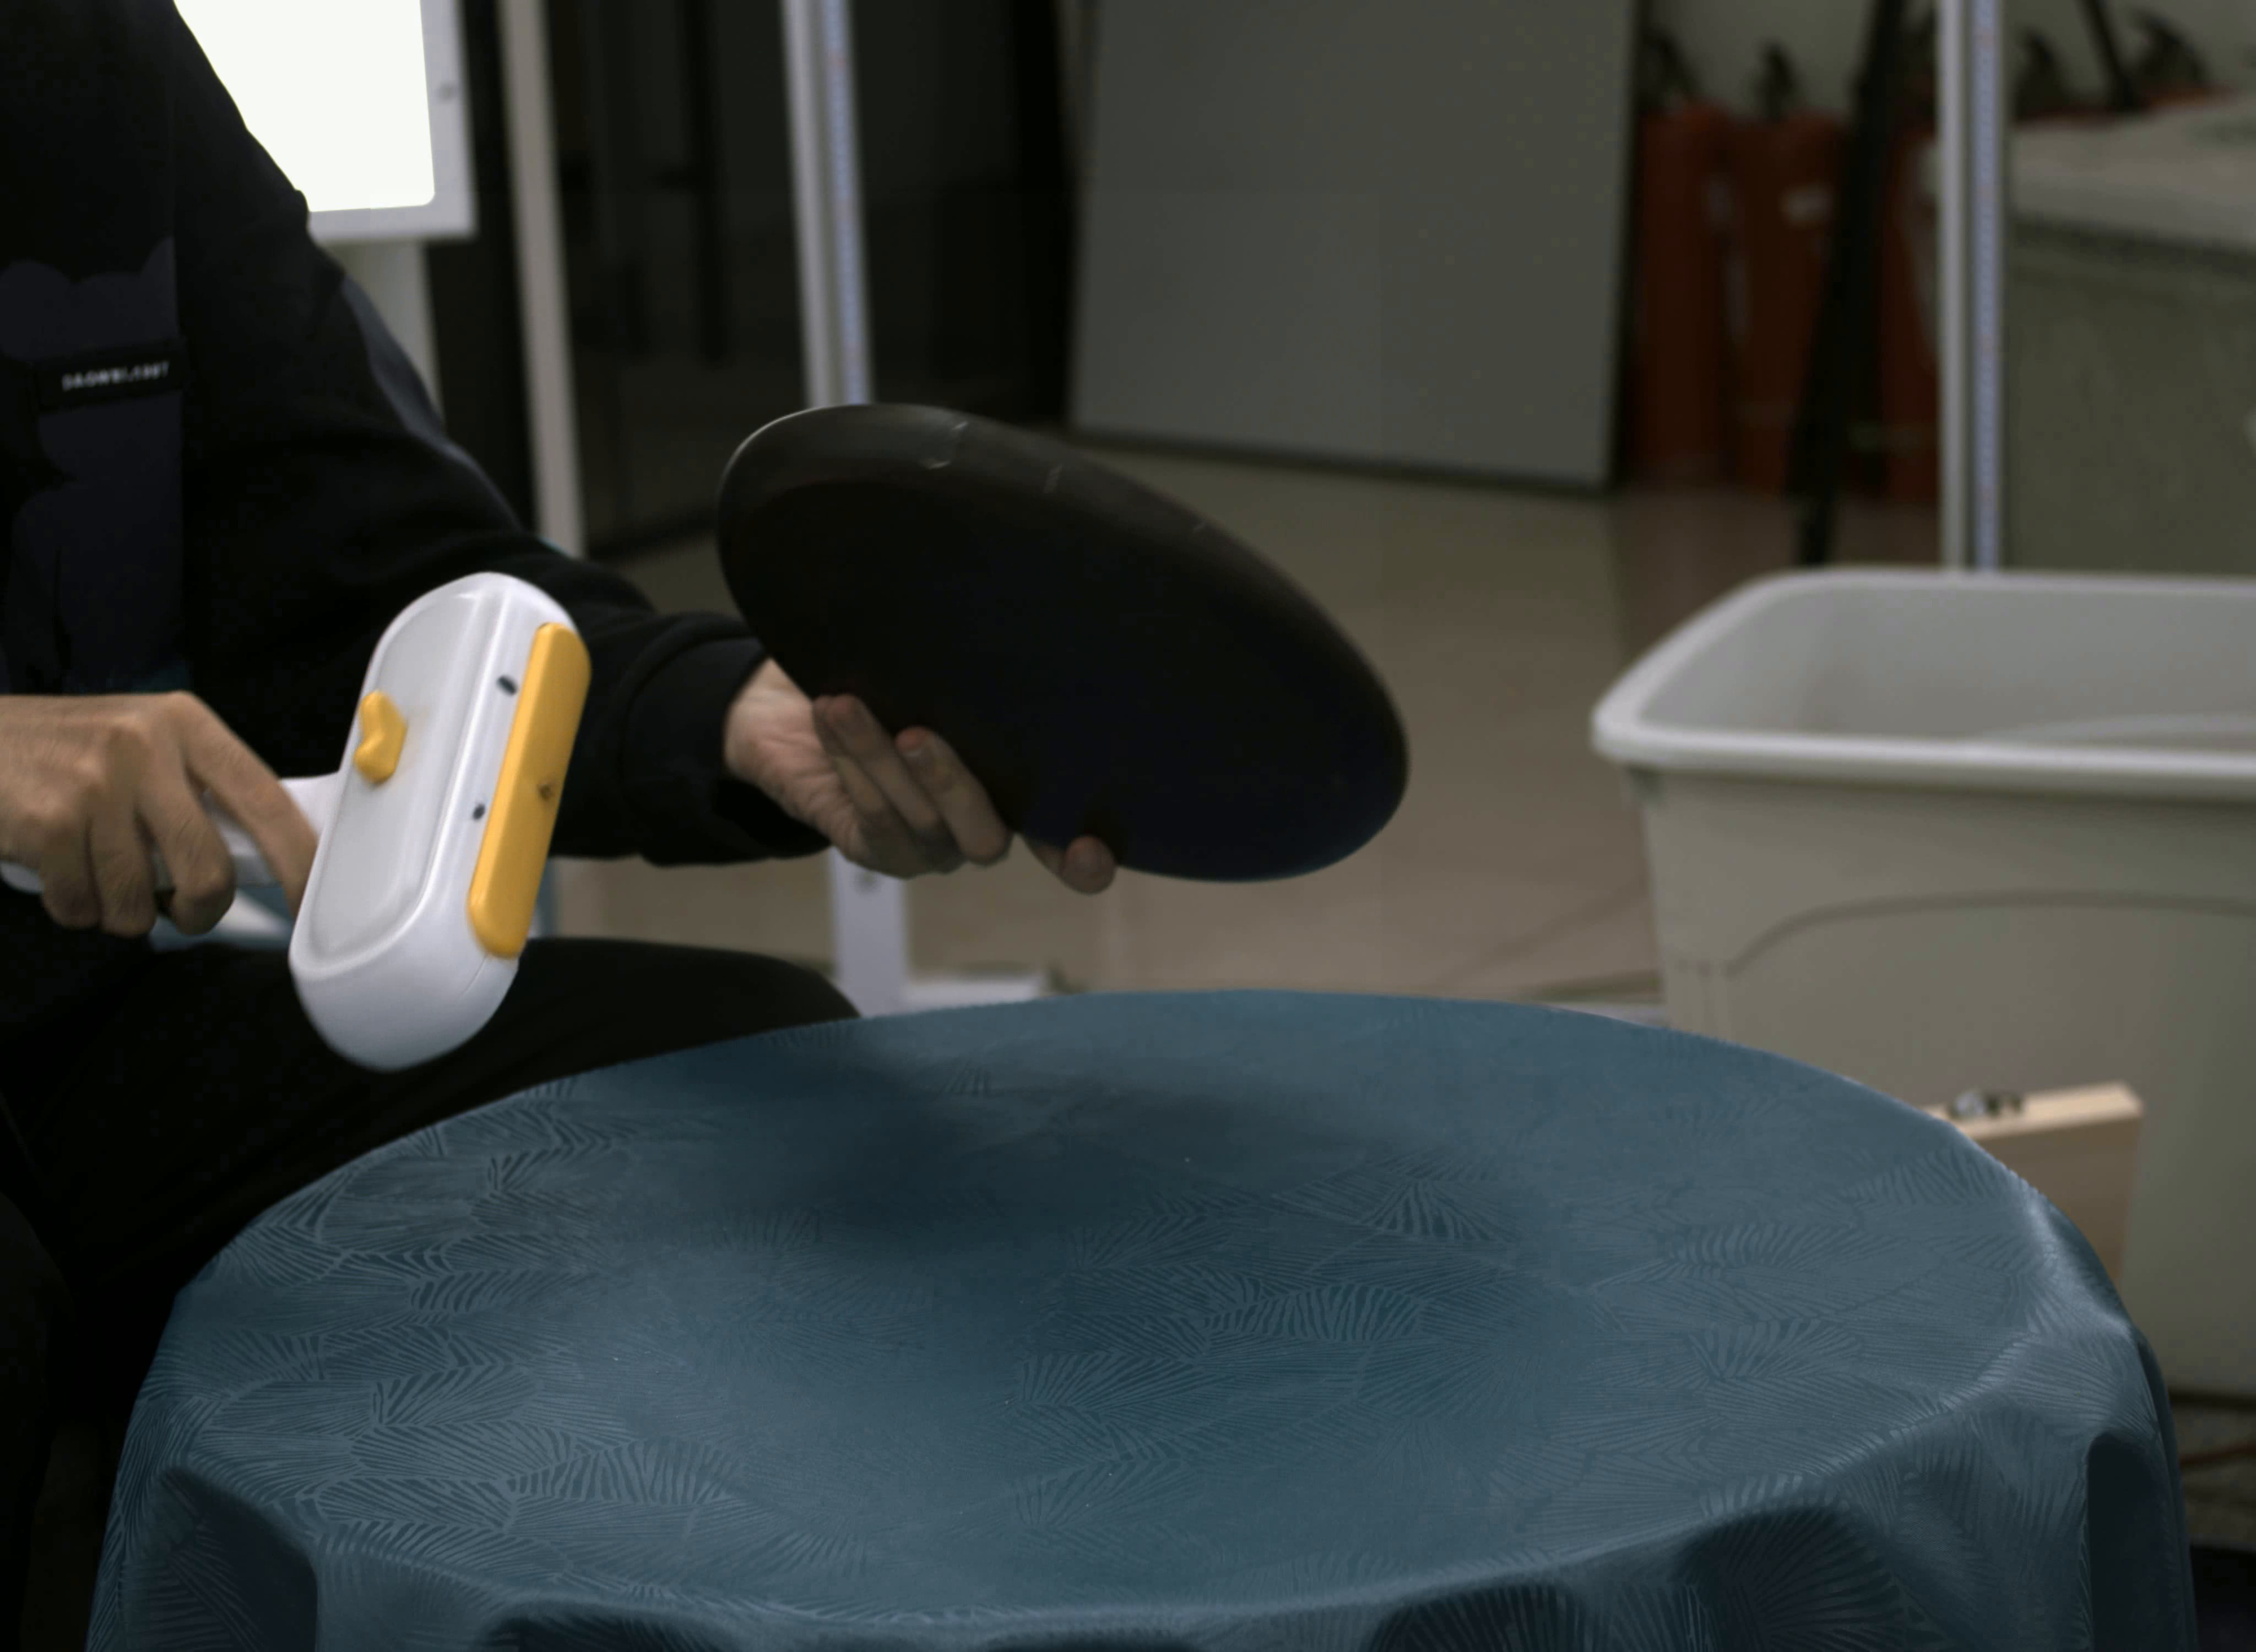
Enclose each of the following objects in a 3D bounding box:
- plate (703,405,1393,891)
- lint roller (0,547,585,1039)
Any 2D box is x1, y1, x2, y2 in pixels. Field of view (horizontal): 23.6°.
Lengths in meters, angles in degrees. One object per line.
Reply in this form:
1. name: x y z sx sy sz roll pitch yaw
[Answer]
1. plate: -0.030 -0.054 1.797 0.256 0.252 0.029 7 59 36
2. lint roller: -0.274 -0.001 1.764 0.192 0.073 0.194 -17 43 18
